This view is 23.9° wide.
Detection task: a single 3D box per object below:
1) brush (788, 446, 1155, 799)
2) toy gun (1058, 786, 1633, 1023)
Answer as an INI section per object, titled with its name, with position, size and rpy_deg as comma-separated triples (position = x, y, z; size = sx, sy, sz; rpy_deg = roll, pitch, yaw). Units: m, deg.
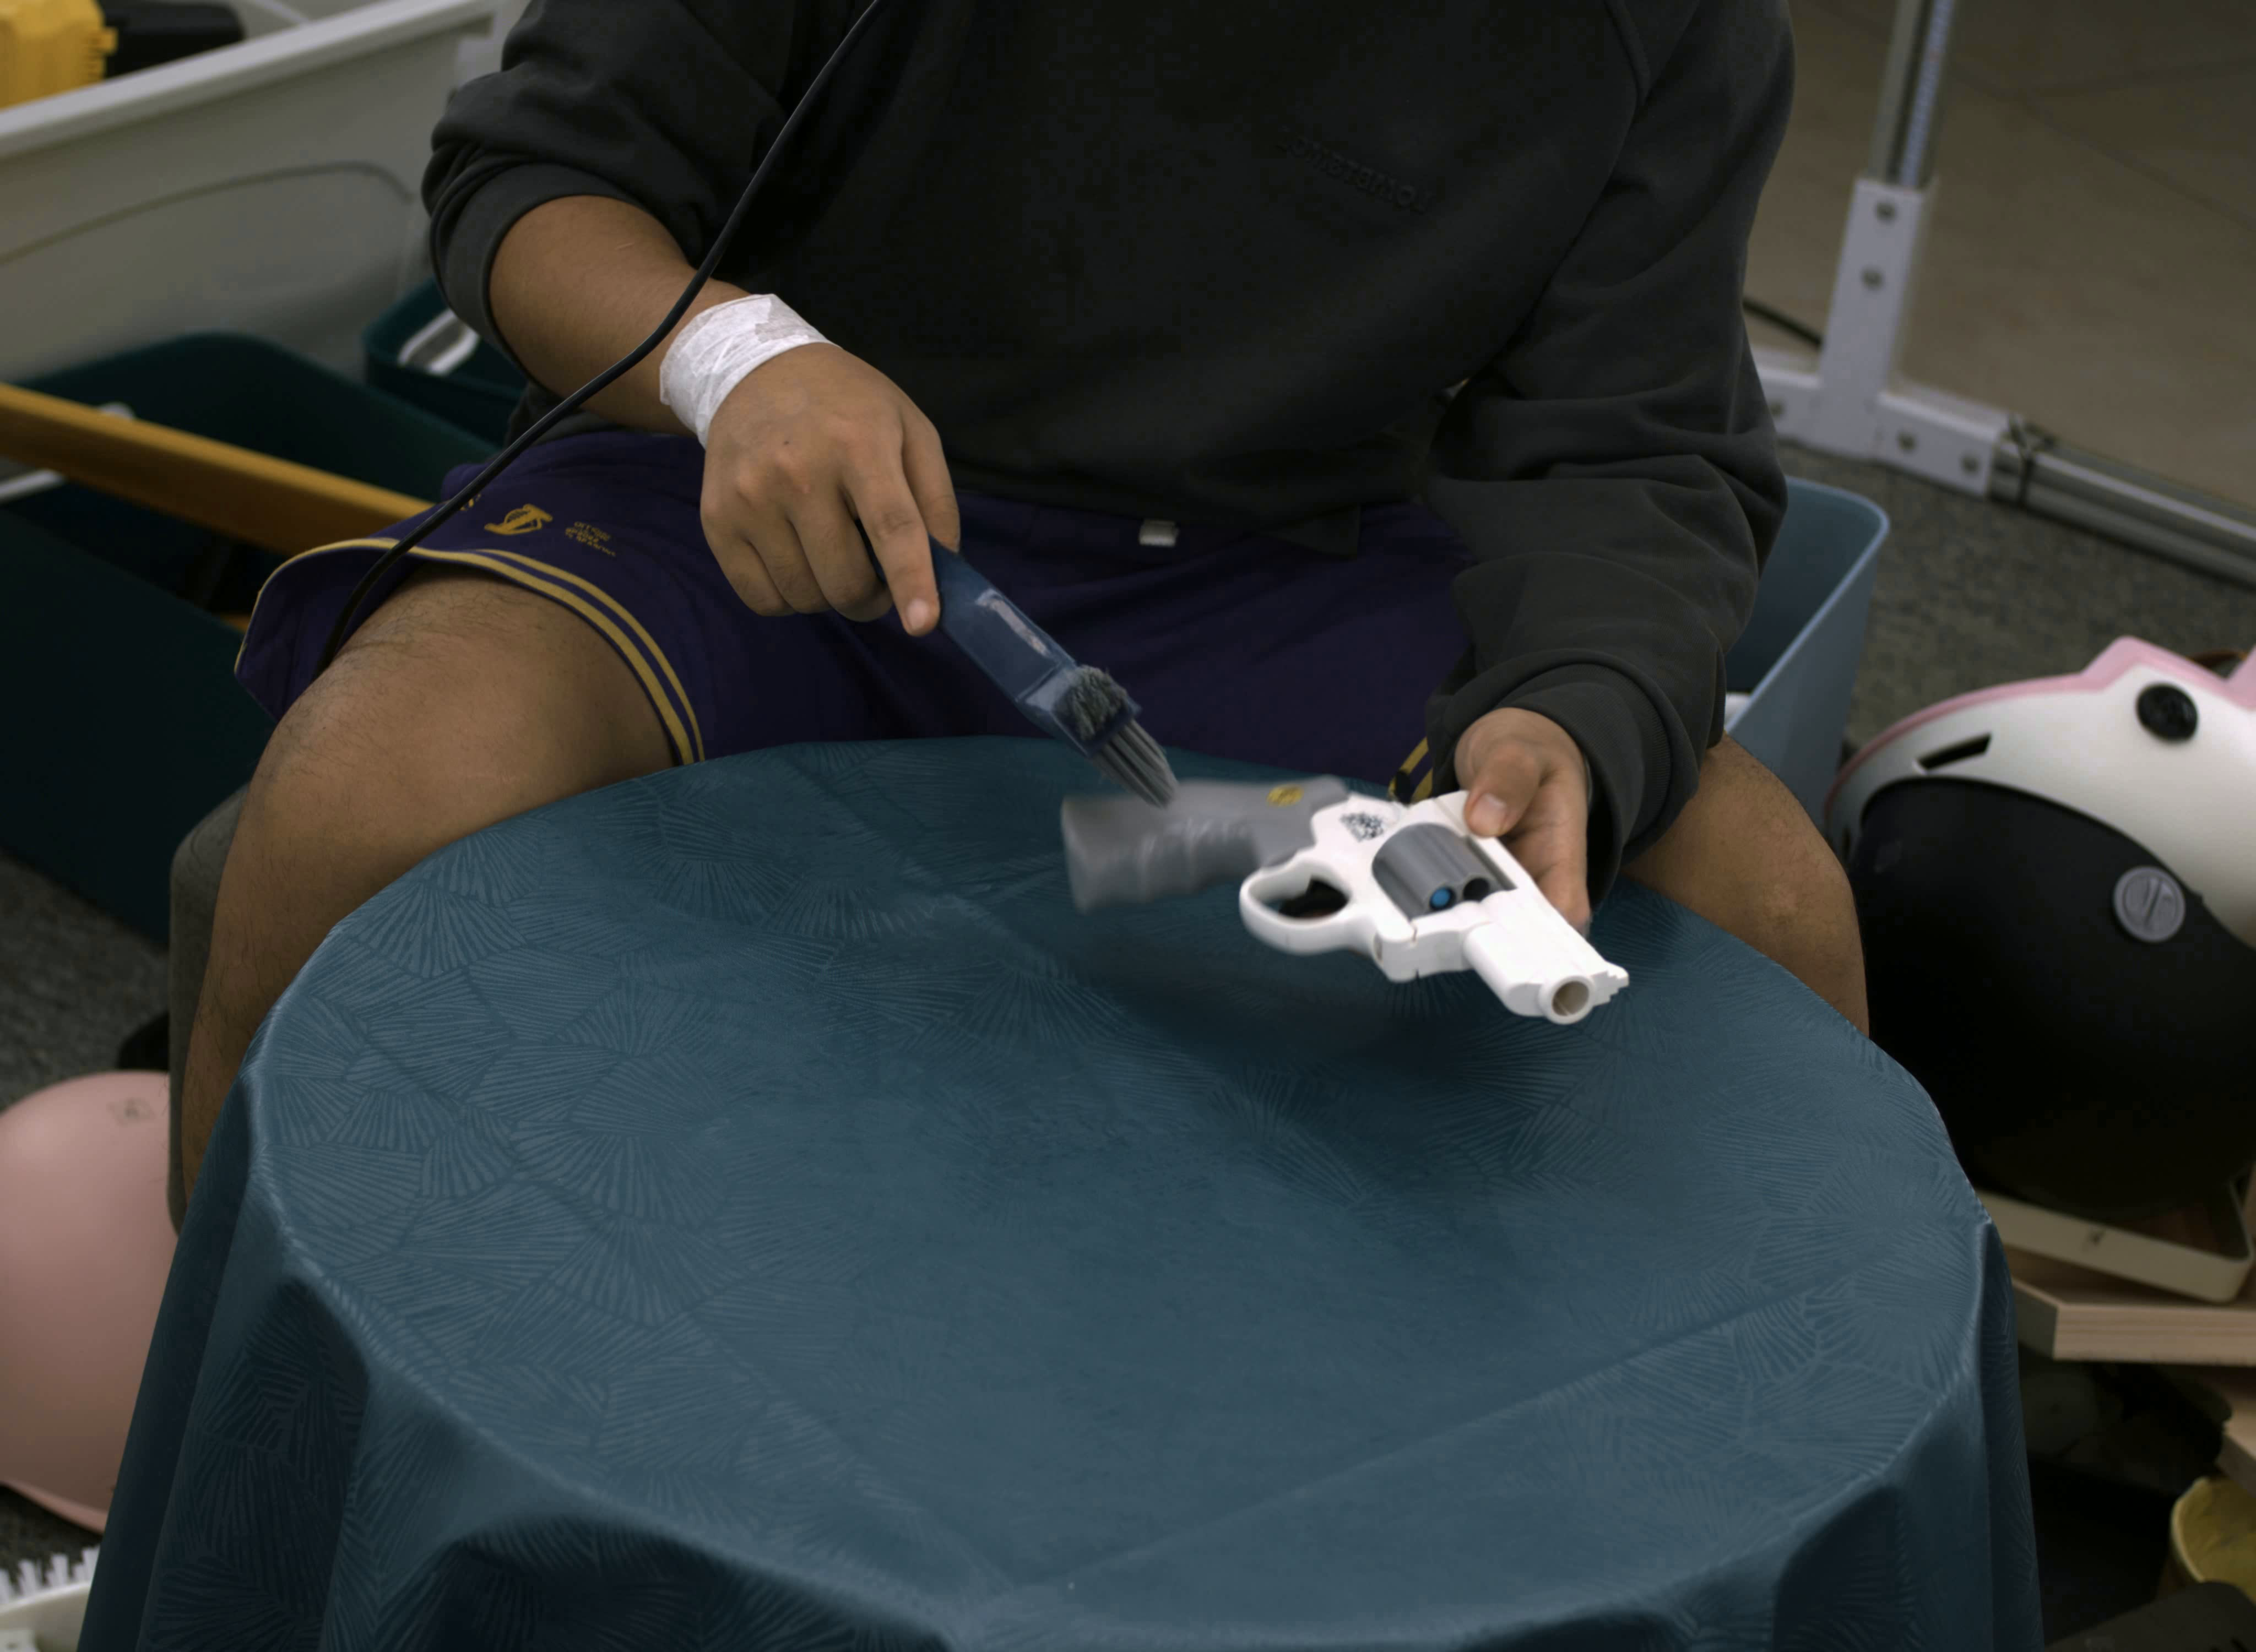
[brush]
position = -0.065, -0.085, 1.920
size = 0.033, 0.095, 0.276
rpy_deg = -46, 44, -2
[toy gun]
position = 0.070, 0.029, 1.851
size = 0.141, 0.038, 0.211
rpy_deg = -18, 29, -14
